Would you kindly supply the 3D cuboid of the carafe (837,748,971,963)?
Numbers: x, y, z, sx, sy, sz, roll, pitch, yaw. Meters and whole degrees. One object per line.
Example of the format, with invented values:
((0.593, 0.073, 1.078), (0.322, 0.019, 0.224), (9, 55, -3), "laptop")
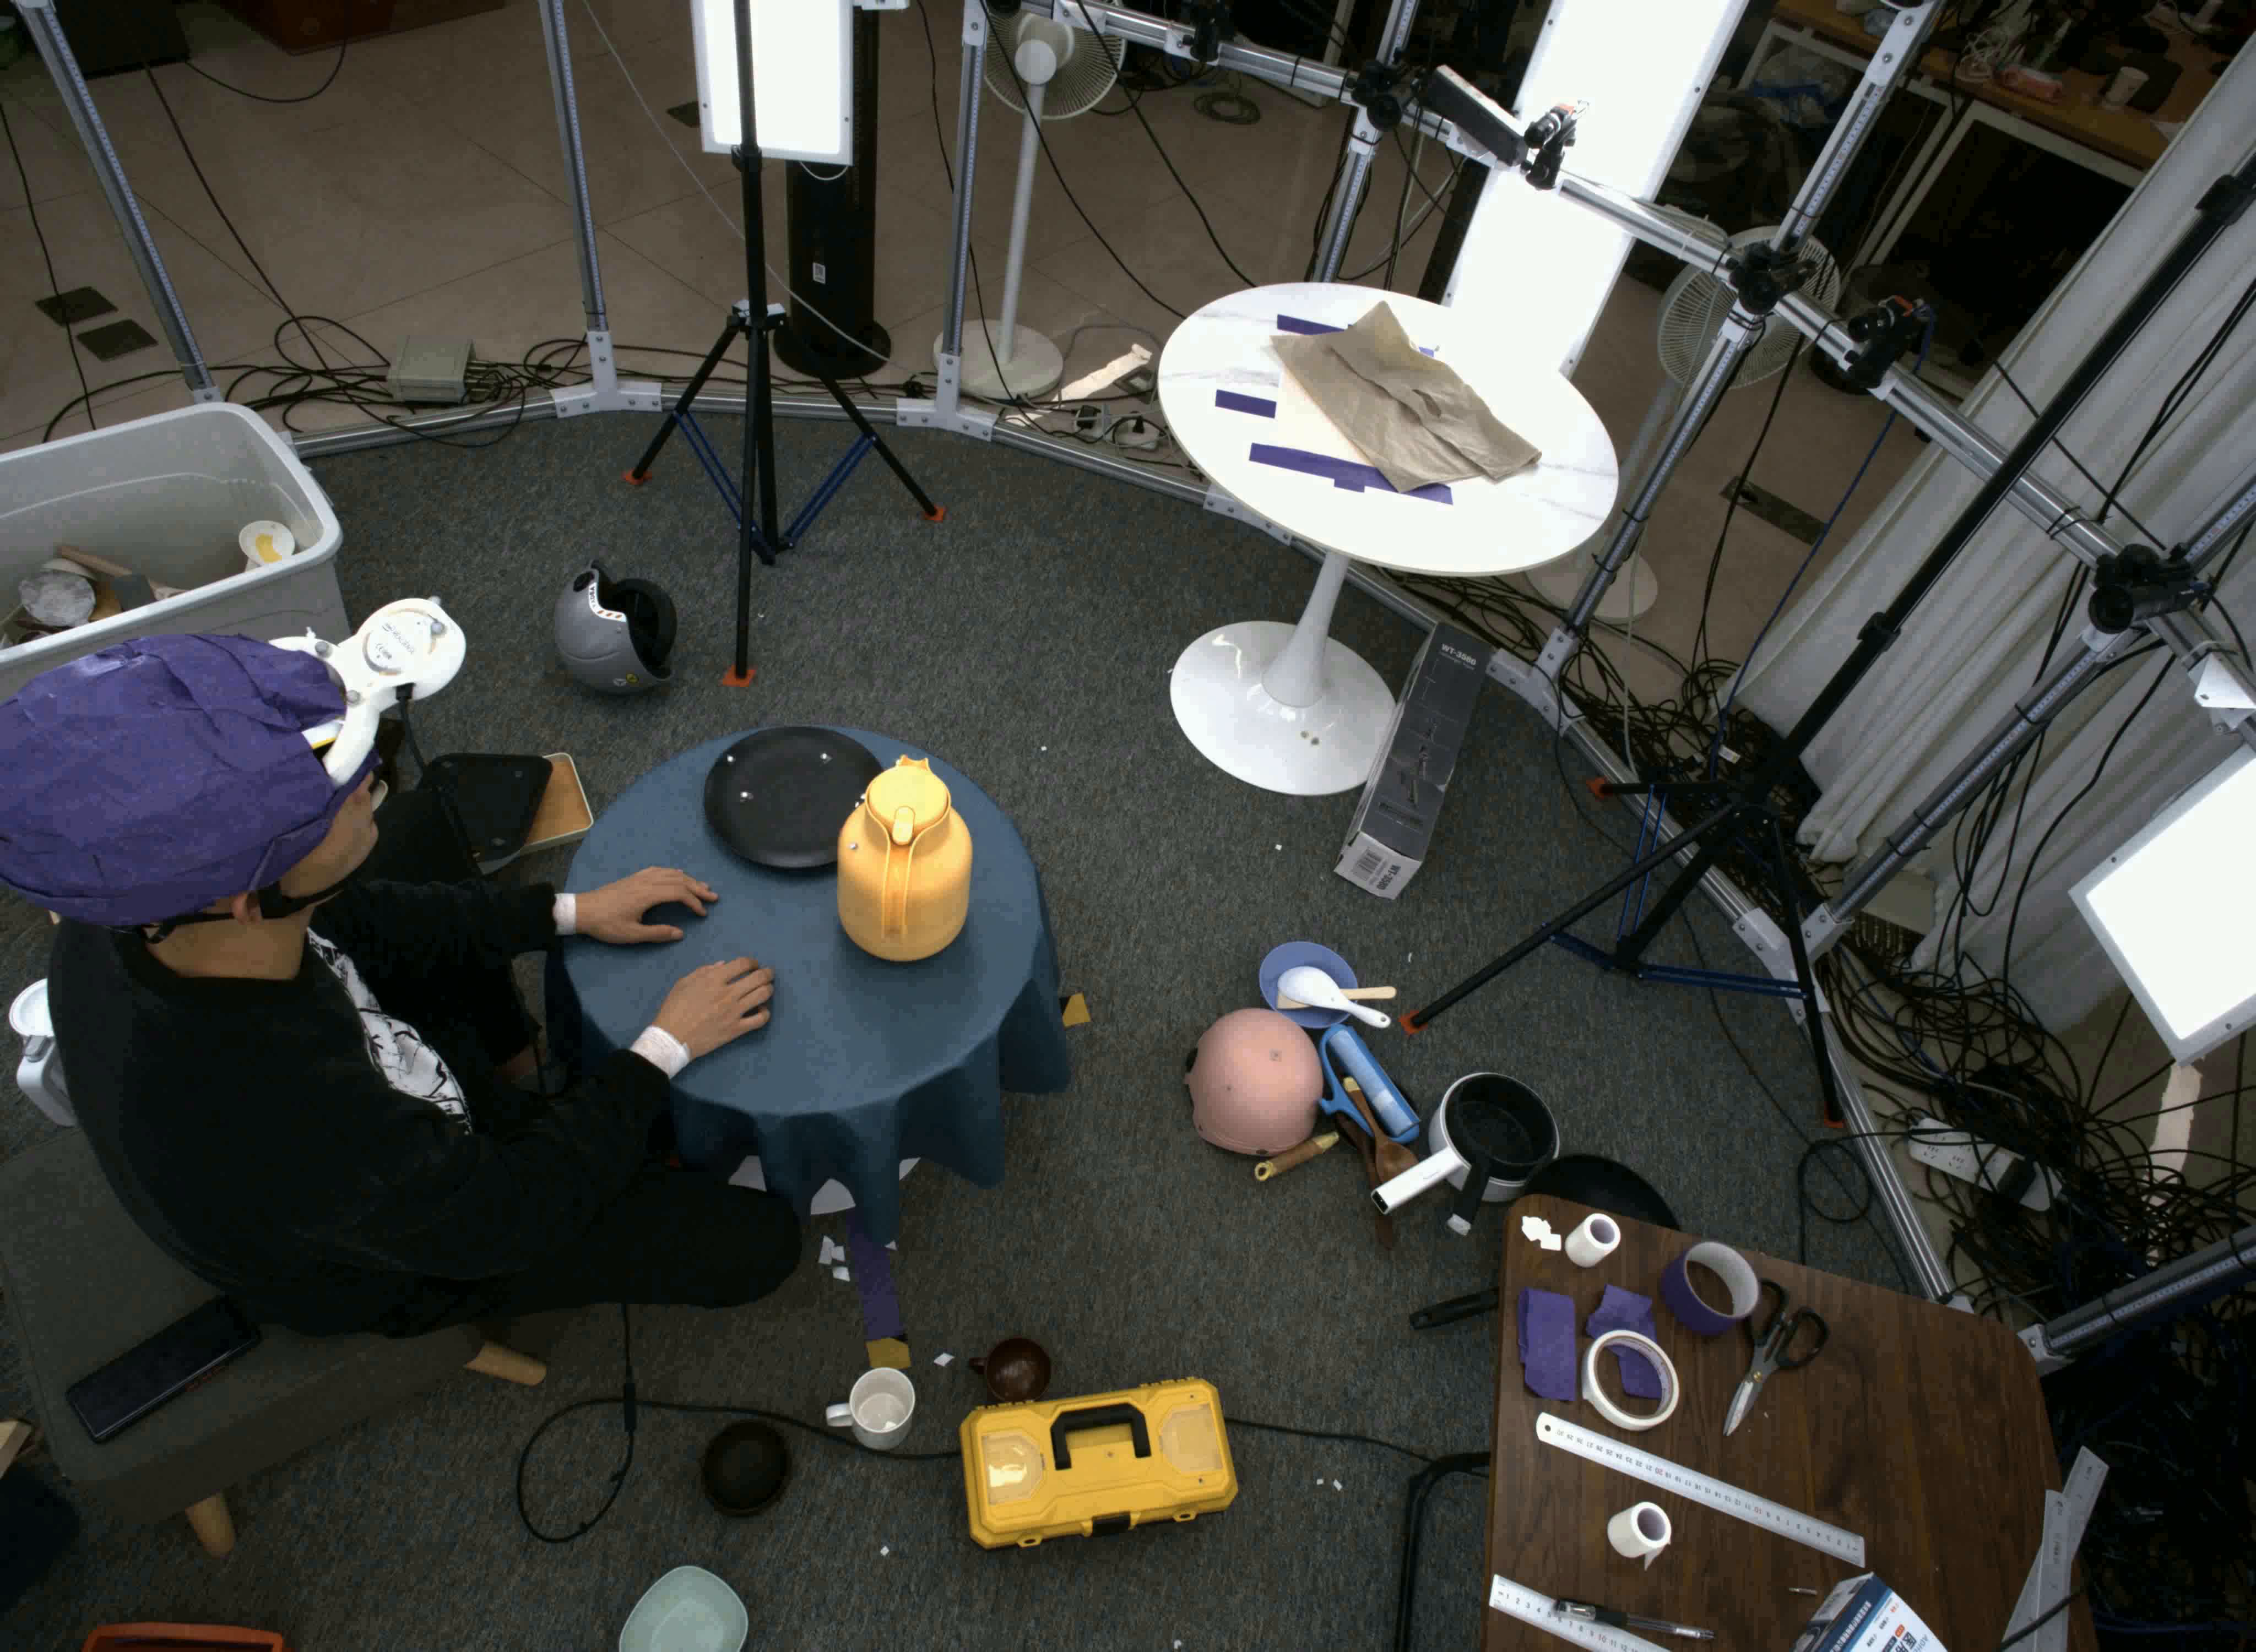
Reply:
((-0.272, 0.050, 1.555), (0.162, 0.267, 0.199), (6, 50, -4), "carafe")

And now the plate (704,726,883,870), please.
((-0.440, -0.037, 1.730), (0.244, 0.024, 0.240), (8, 52, -9), "plate")
